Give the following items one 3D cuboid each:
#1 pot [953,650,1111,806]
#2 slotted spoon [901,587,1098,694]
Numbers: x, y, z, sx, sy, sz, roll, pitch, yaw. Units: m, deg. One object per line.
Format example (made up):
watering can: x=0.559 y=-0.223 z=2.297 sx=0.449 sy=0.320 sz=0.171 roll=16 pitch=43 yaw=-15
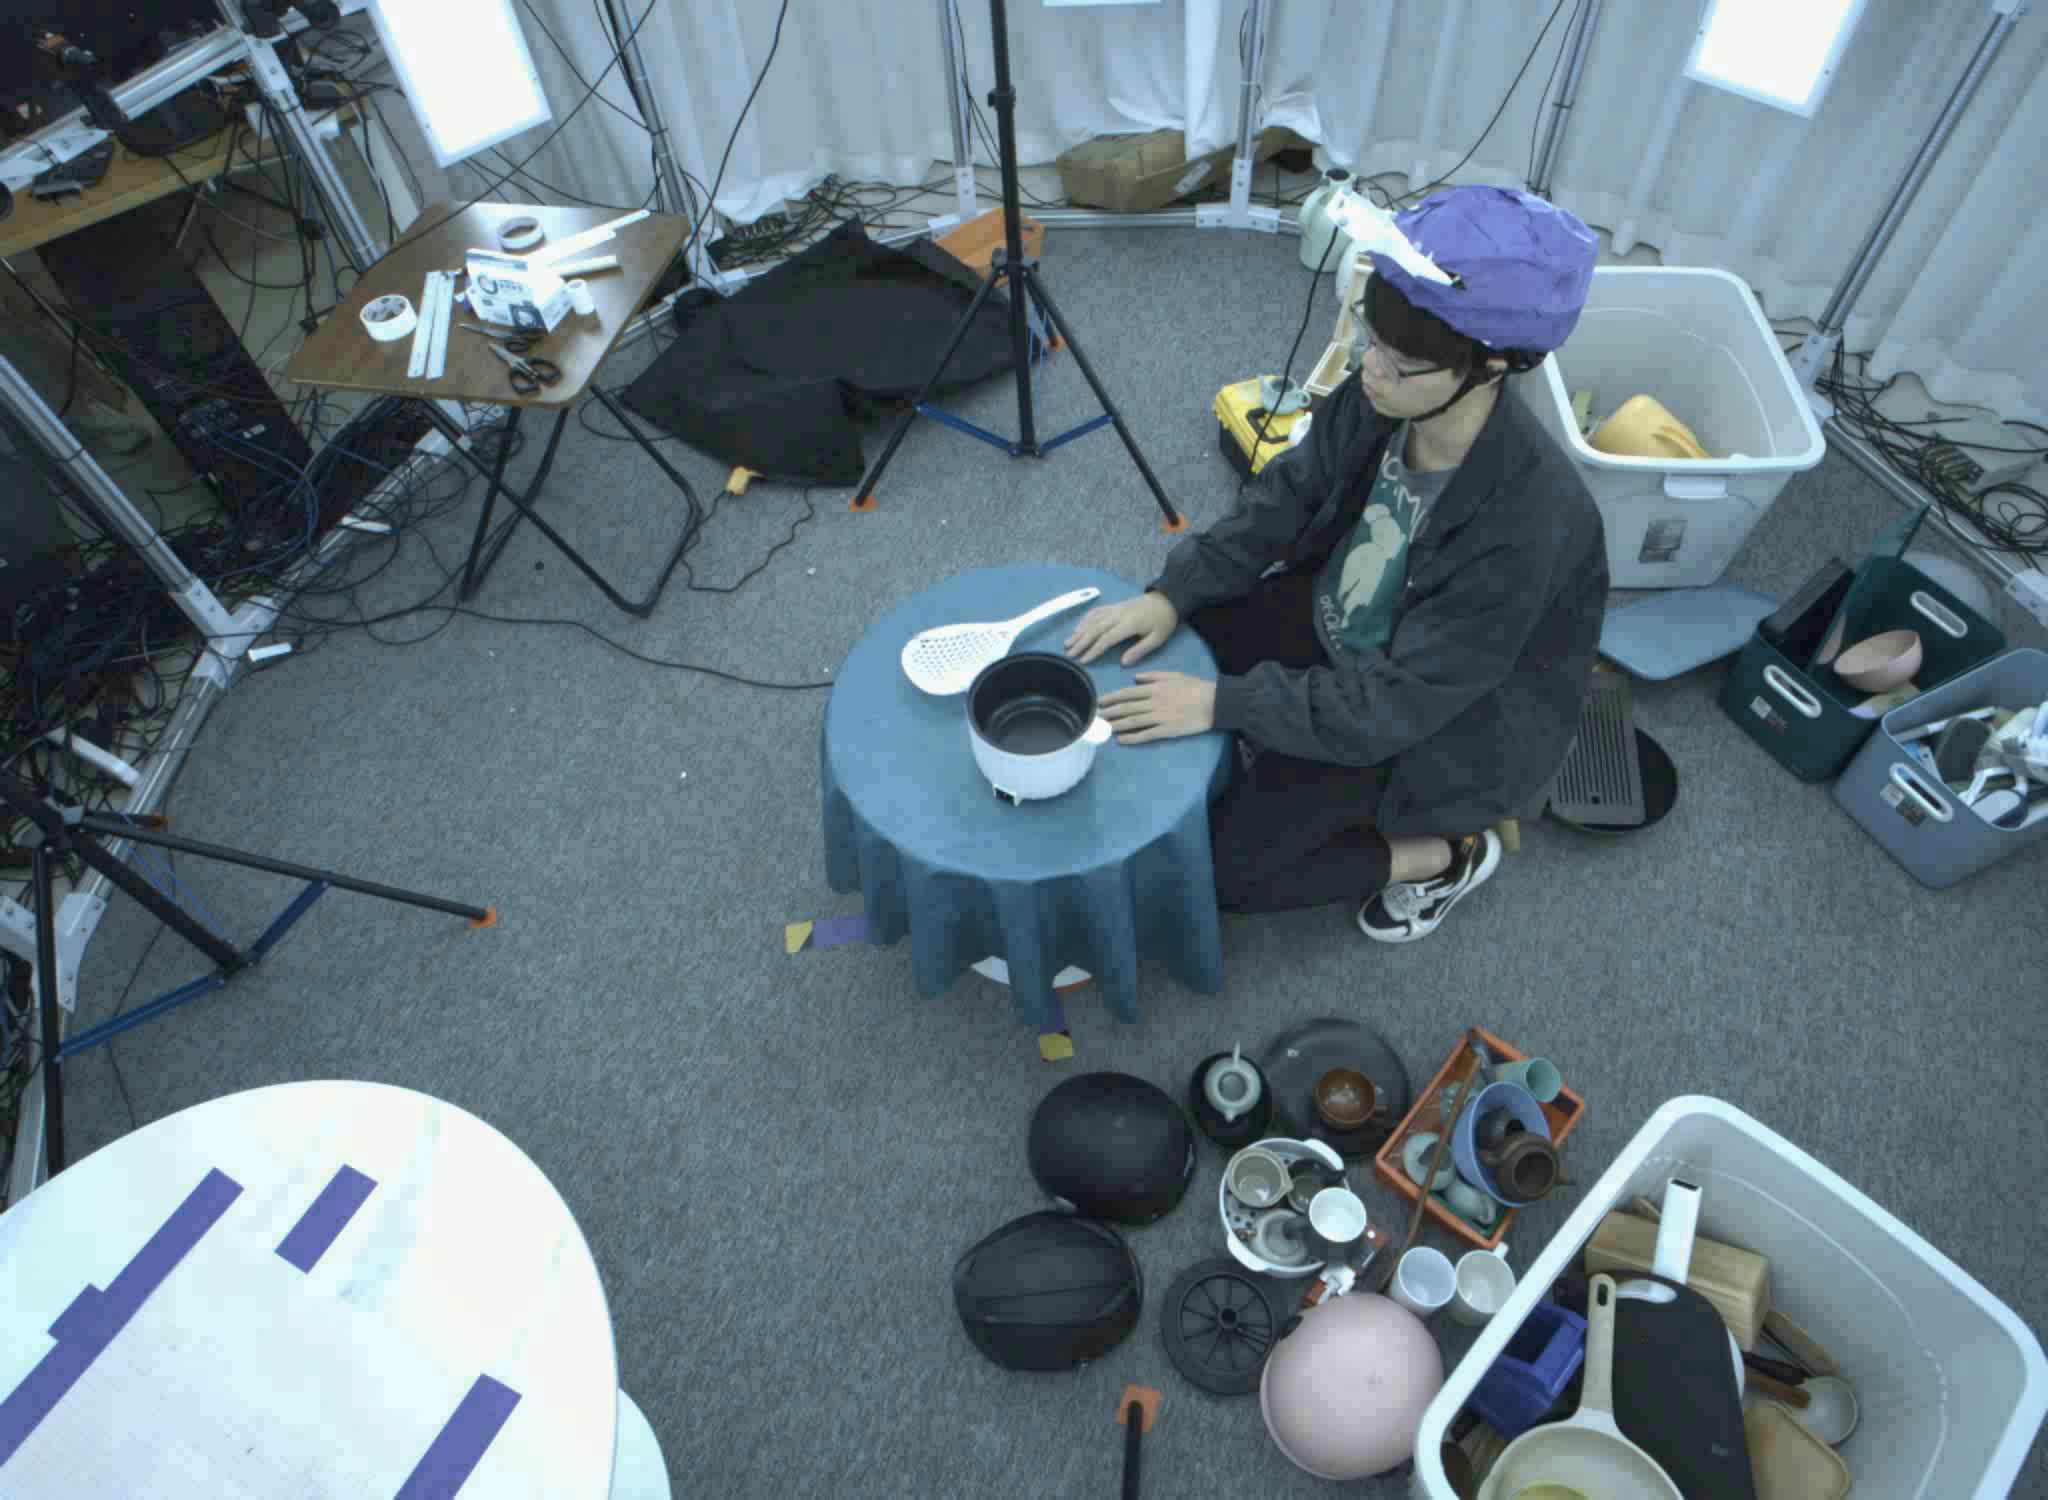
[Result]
pot: x=0.015 y=-0.032 z=1.716 sx=0.237 sy=0.144 sz=0.191 roll=24 pitch=62 yaw=17
slotted spoon: x=-0.024 y=-0.179 z=1.882 sx=0.350 sy=0.051 sz=0.134 roll=-31 pitch=57 yaw=-18
